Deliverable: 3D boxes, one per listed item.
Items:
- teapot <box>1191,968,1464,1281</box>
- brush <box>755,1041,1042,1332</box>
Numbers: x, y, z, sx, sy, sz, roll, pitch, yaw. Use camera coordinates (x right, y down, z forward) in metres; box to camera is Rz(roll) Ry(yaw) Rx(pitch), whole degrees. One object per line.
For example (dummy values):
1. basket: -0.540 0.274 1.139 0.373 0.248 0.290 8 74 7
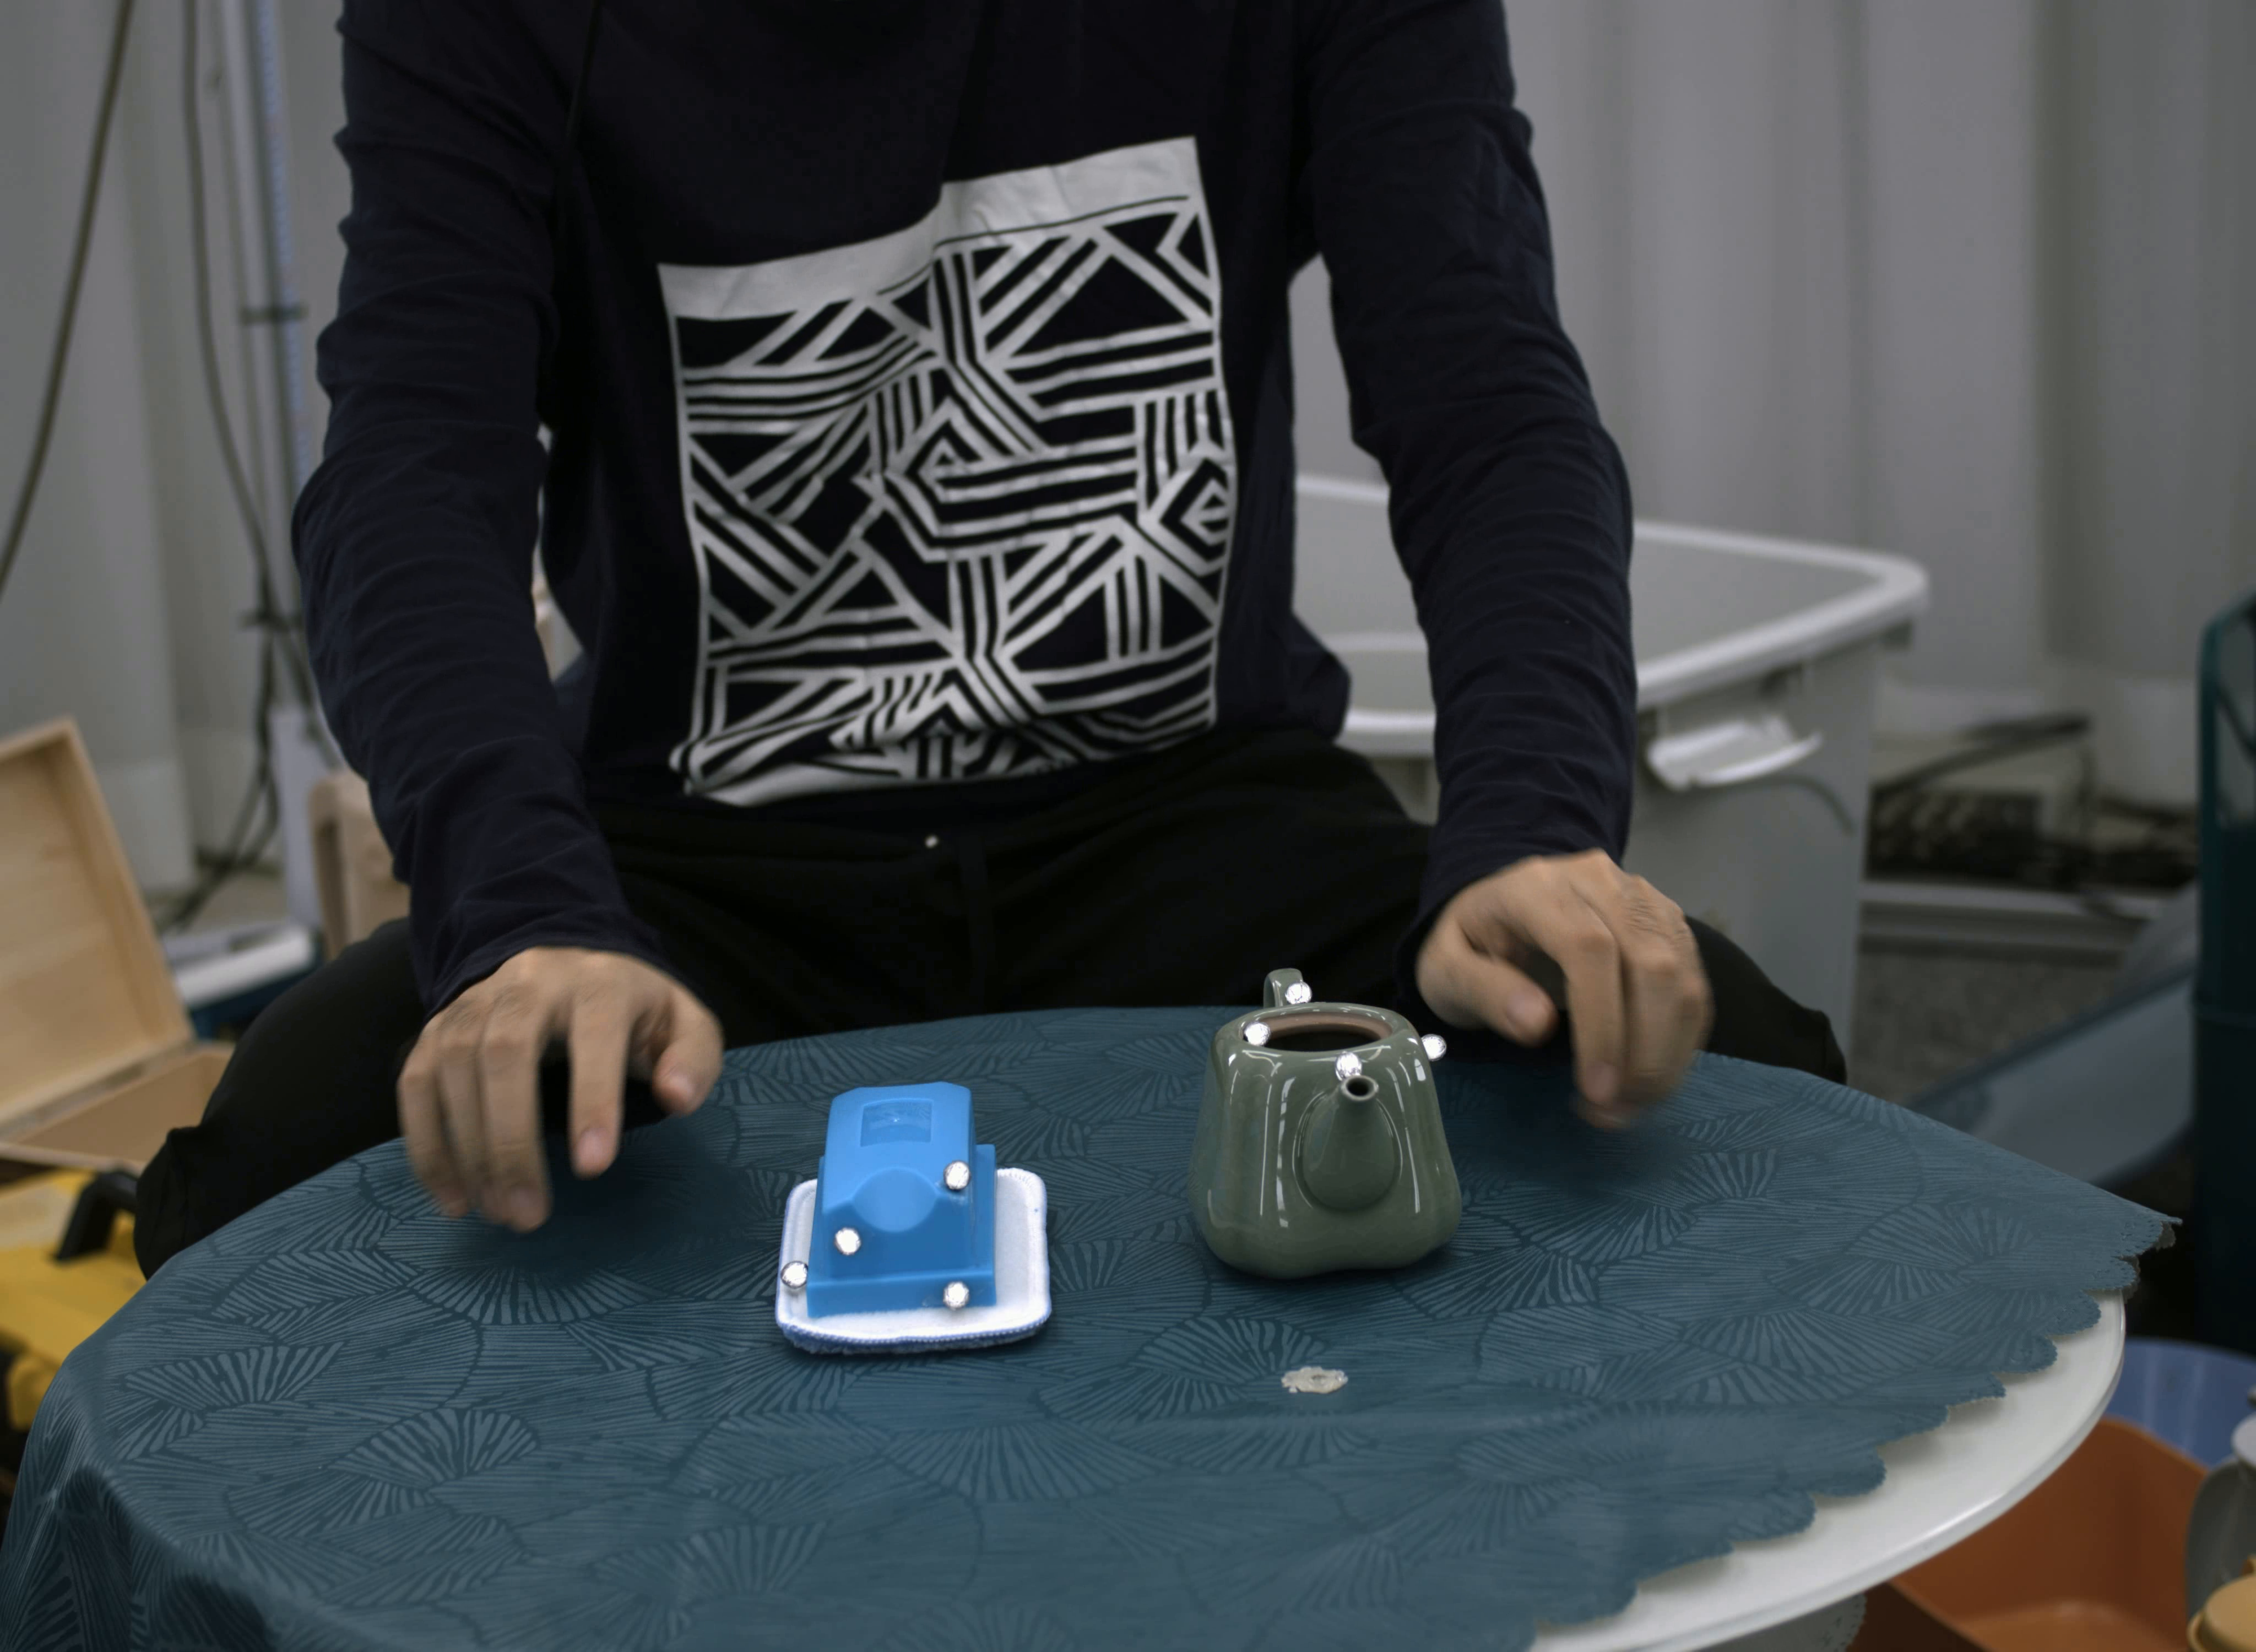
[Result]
1. teapot: 0.059 0.092 1.646 0.079 0.075 0.133 -5 14 -8
2. brush: -0.068 0.105 1.645 0.083 0.055 0.145 1 18 0
